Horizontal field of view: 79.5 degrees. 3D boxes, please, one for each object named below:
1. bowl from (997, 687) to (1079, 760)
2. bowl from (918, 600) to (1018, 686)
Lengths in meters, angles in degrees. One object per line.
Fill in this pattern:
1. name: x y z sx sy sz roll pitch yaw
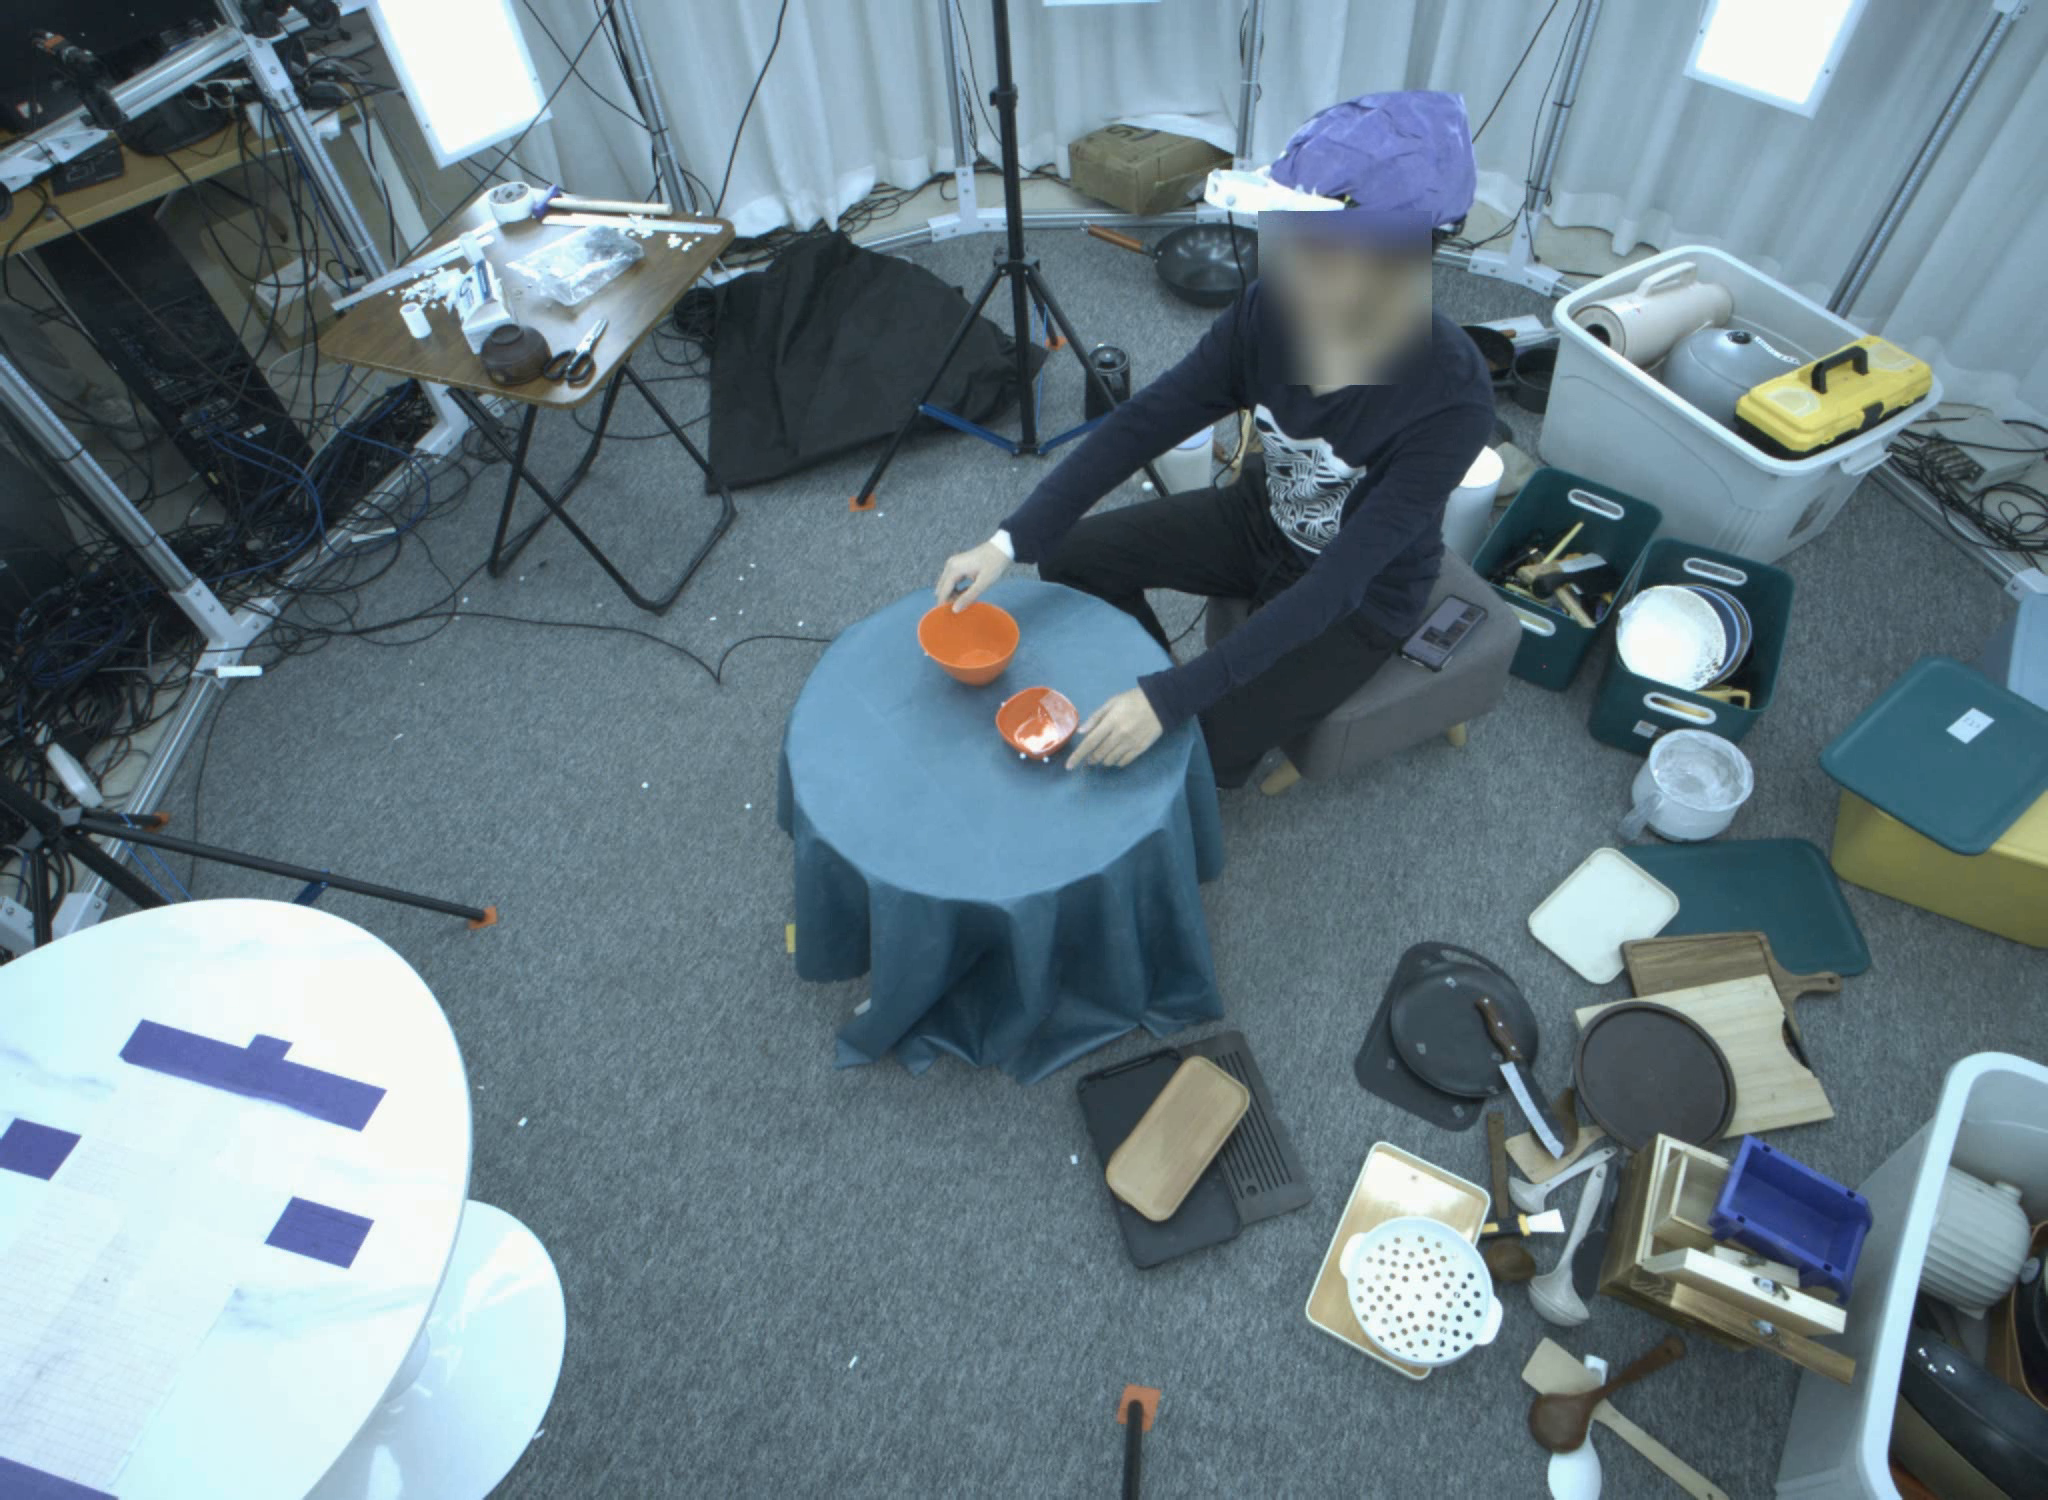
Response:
1. bowl: 0.021 -0.031 1.787 0.119 0.052 0.117 0 53 2
2. bowl: -0.081 -0.148 1.842 0.148 0.106 0.146 0 54 2
